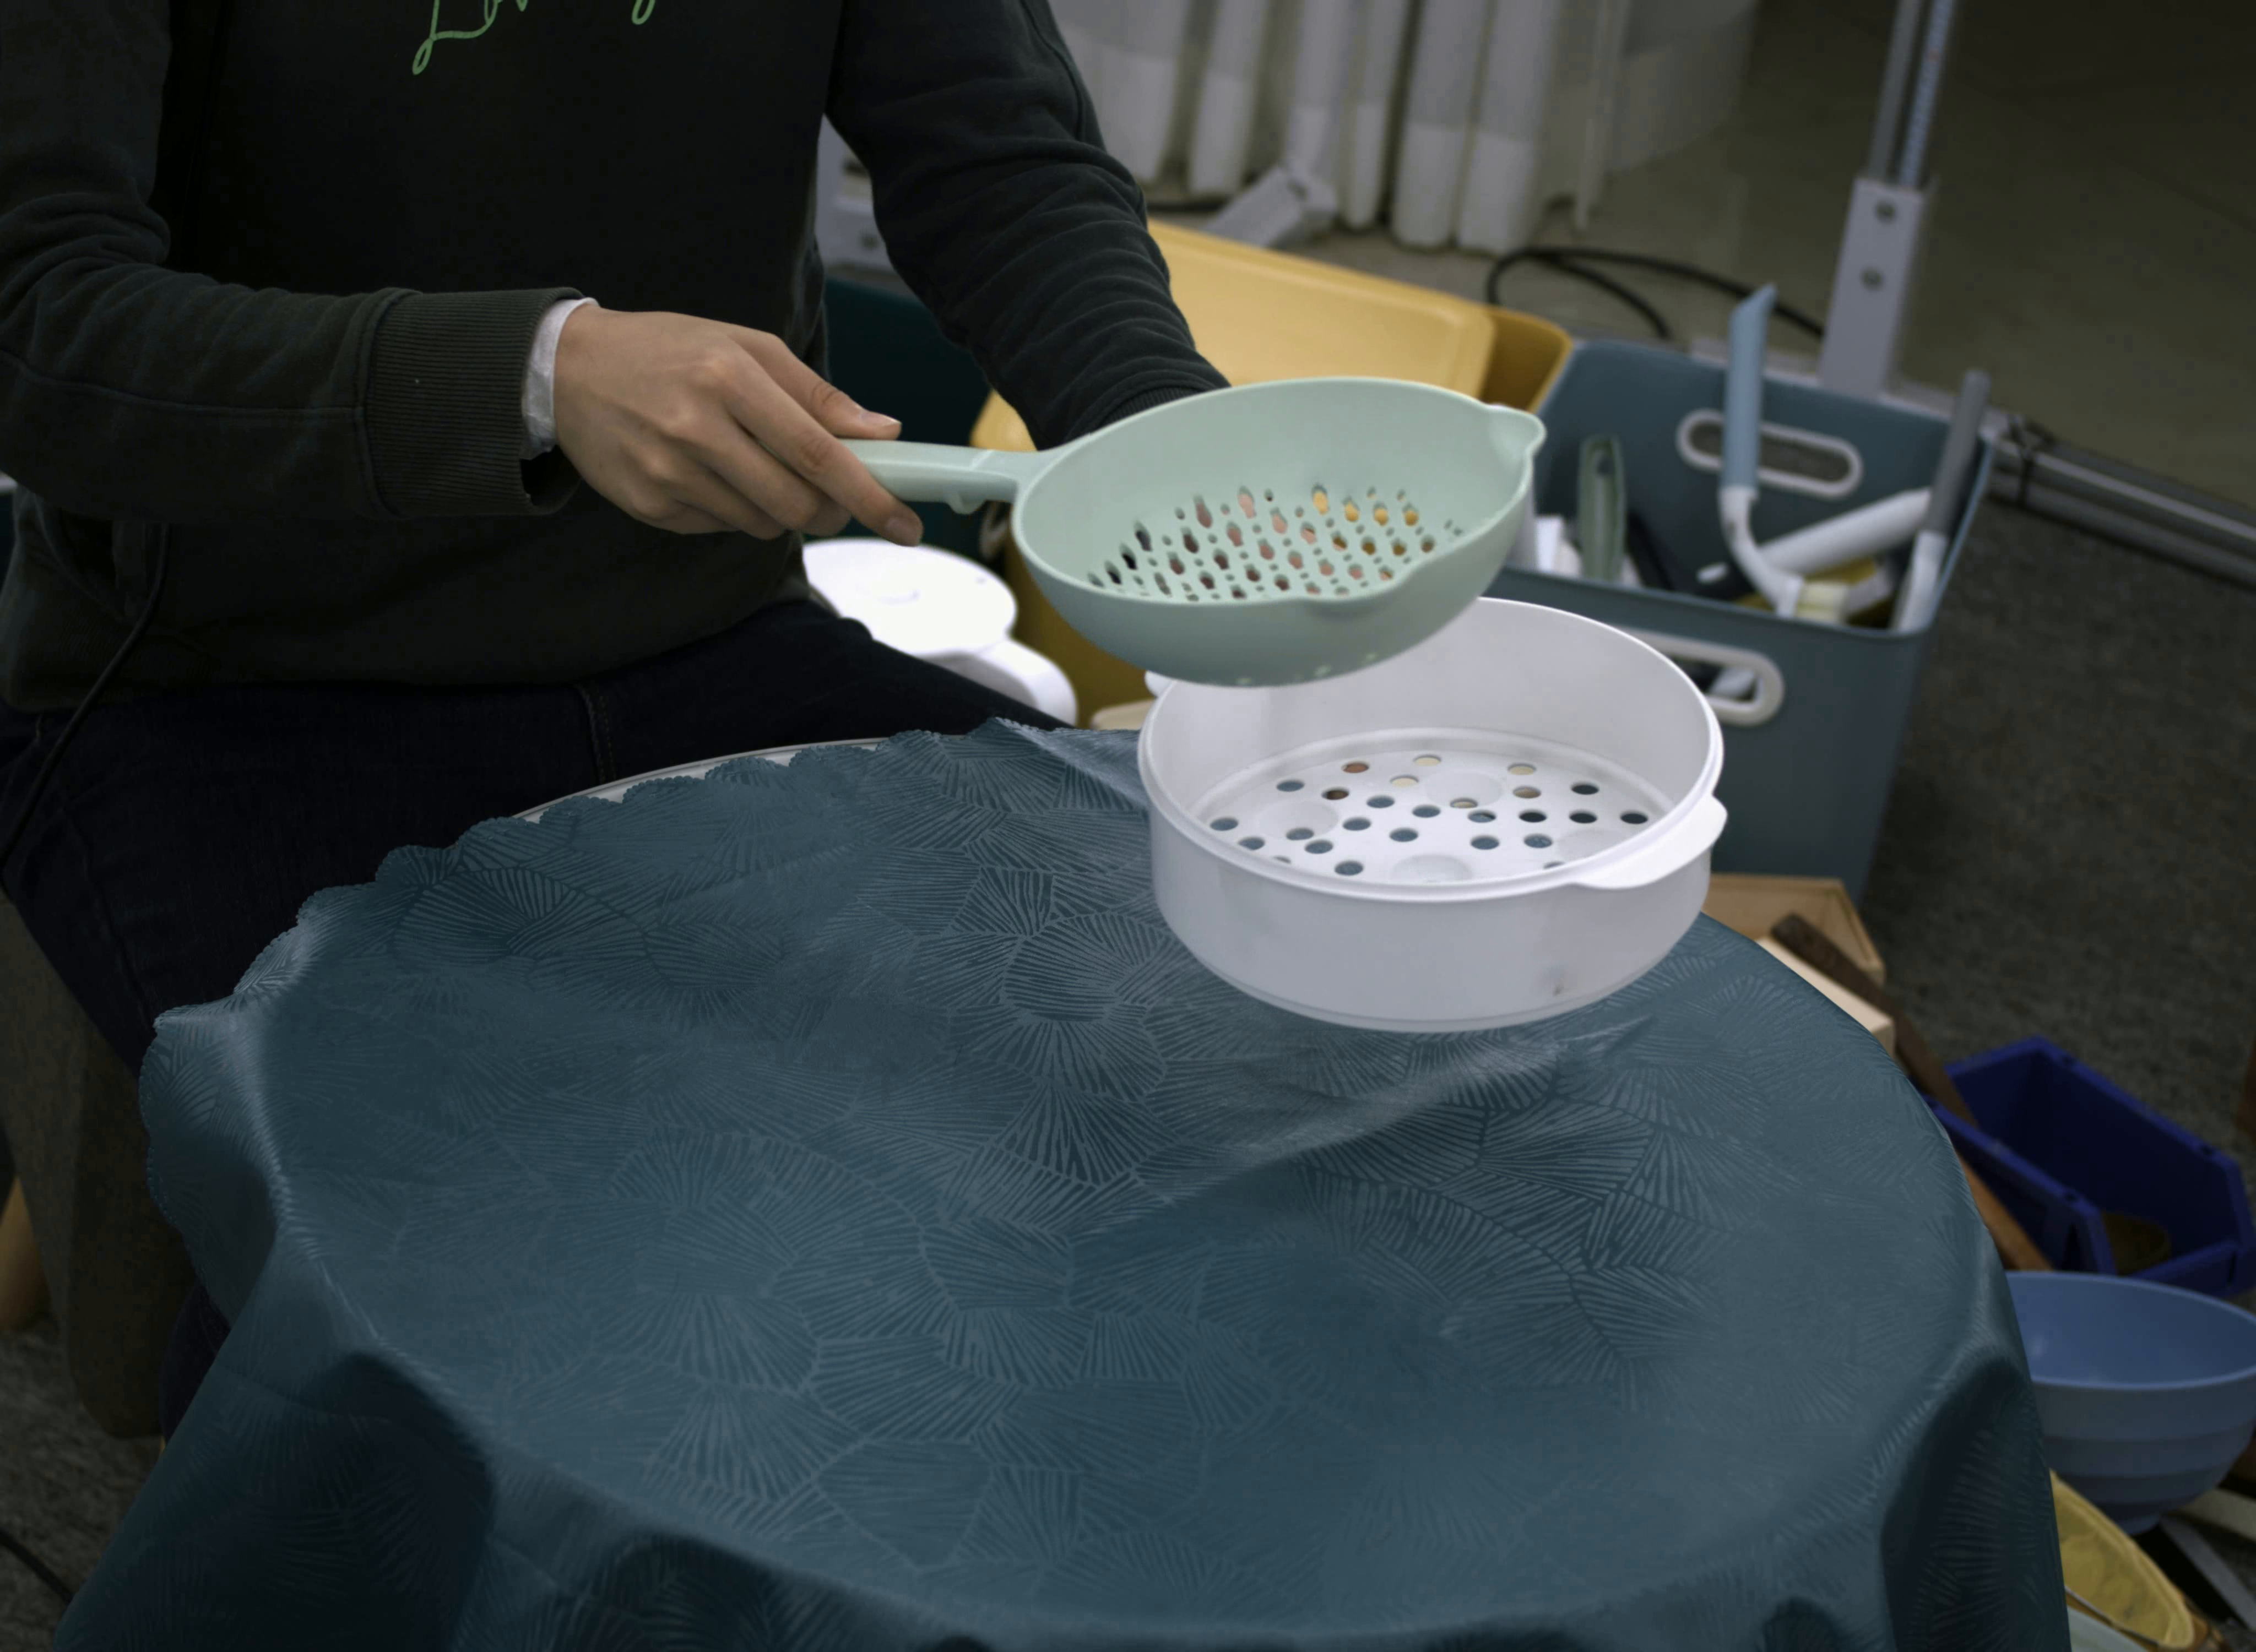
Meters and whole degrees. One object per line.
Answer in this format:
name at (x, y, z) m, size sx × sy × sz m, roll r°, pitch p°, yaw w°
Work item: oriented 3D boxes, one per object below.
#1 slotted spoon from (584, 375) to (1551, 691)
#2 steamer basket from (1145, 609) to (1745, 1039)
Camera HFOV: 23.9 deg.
slotted spoon at (-0.034, -0.109, 1.783) m, size 0.360 × 0.075 × 0.169 m, roll 14°, pitch 34°, yaw 25°
steamer basket at (0.107, 0.000, 1.828) m, size 0.232 × 0.069 × 0.201 m, roll 24°, pitch 39°, yaw 37°
